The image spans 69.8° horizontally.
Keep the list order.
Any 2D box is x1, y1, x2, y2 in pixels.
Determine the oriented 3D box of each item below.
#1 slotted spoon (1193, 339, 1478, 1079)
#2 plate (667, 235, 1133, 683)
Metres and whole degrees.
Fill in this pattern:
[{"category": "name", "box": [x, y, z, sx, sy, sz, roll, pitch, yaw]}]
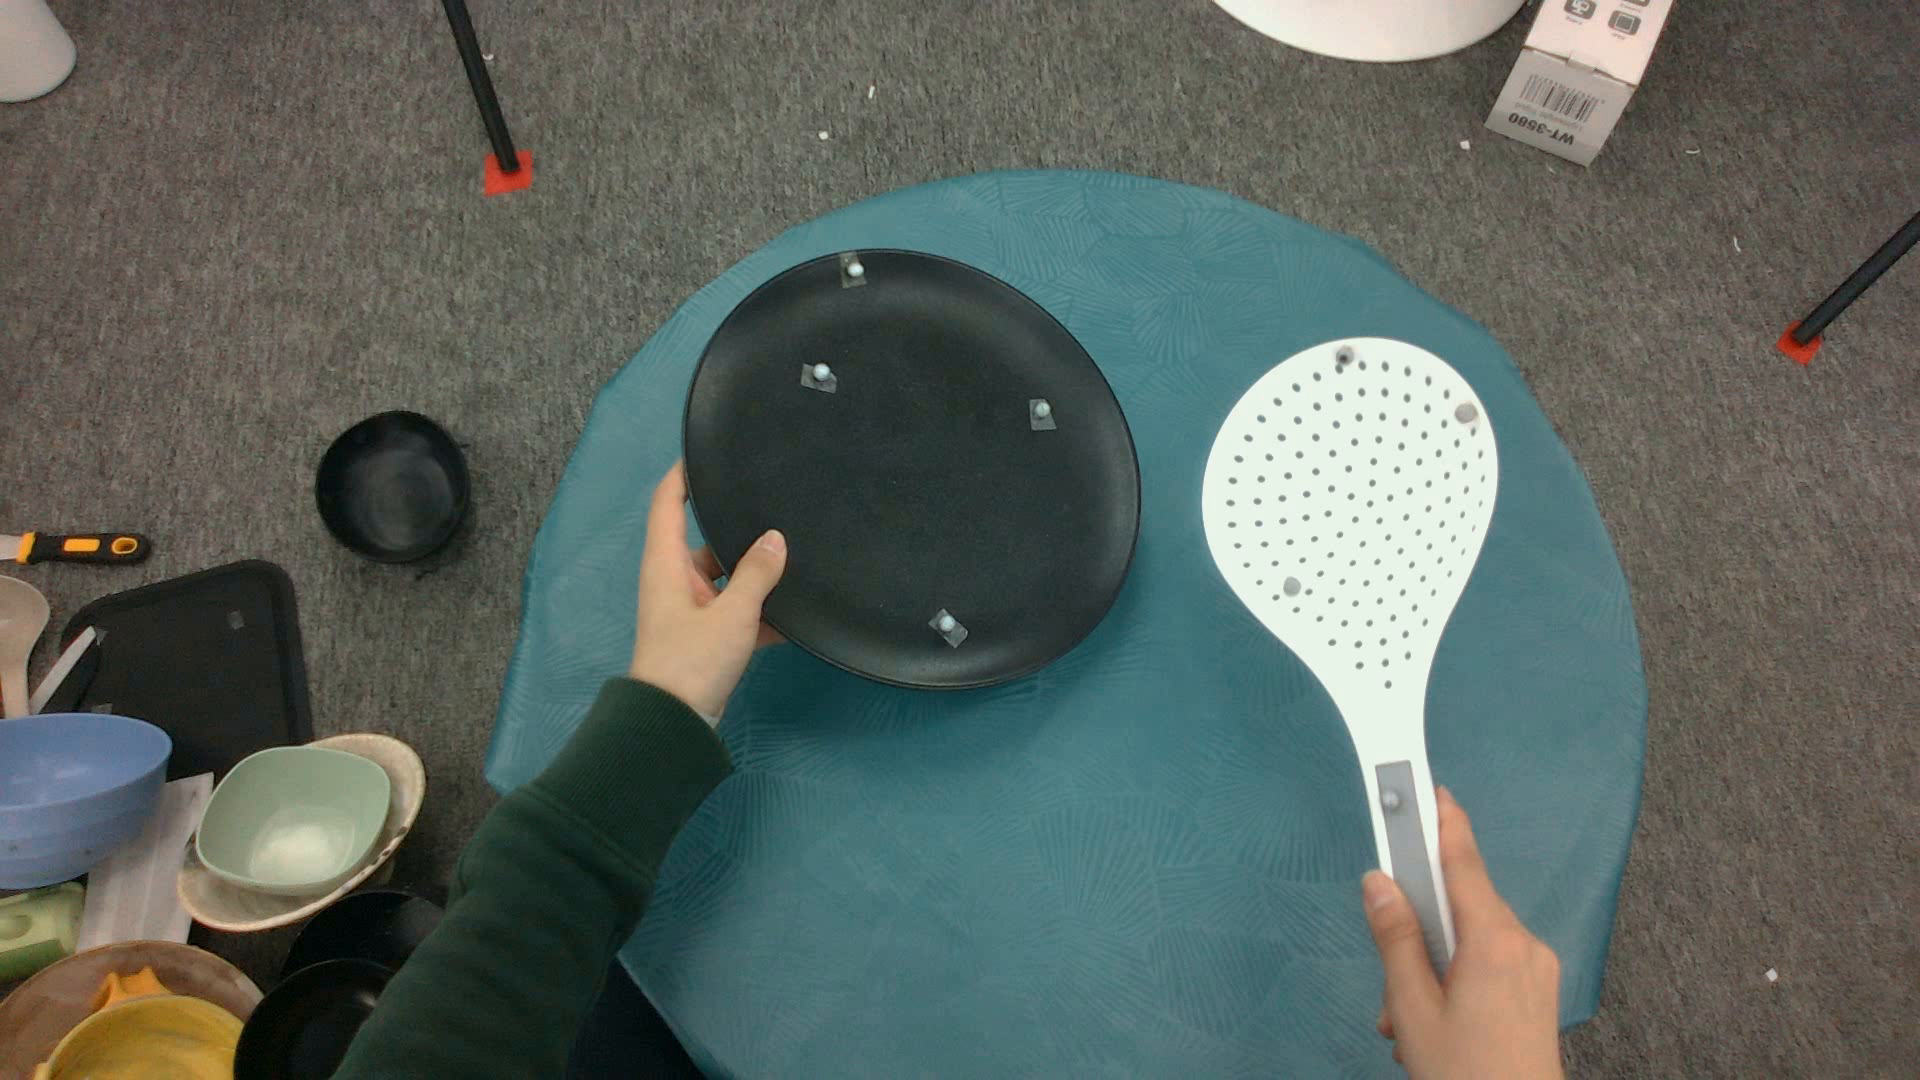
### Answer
[{"category": "slotted spoon", "box": [0.181, 0.077, 0.598, 0.135, 0.046, 0.351, -19, 63, 34]}, {"category": "plate", "box": [-0.026, -0.044, 0.696, 0.245, 0.023, 0.245, 8, 67, -18]}]
